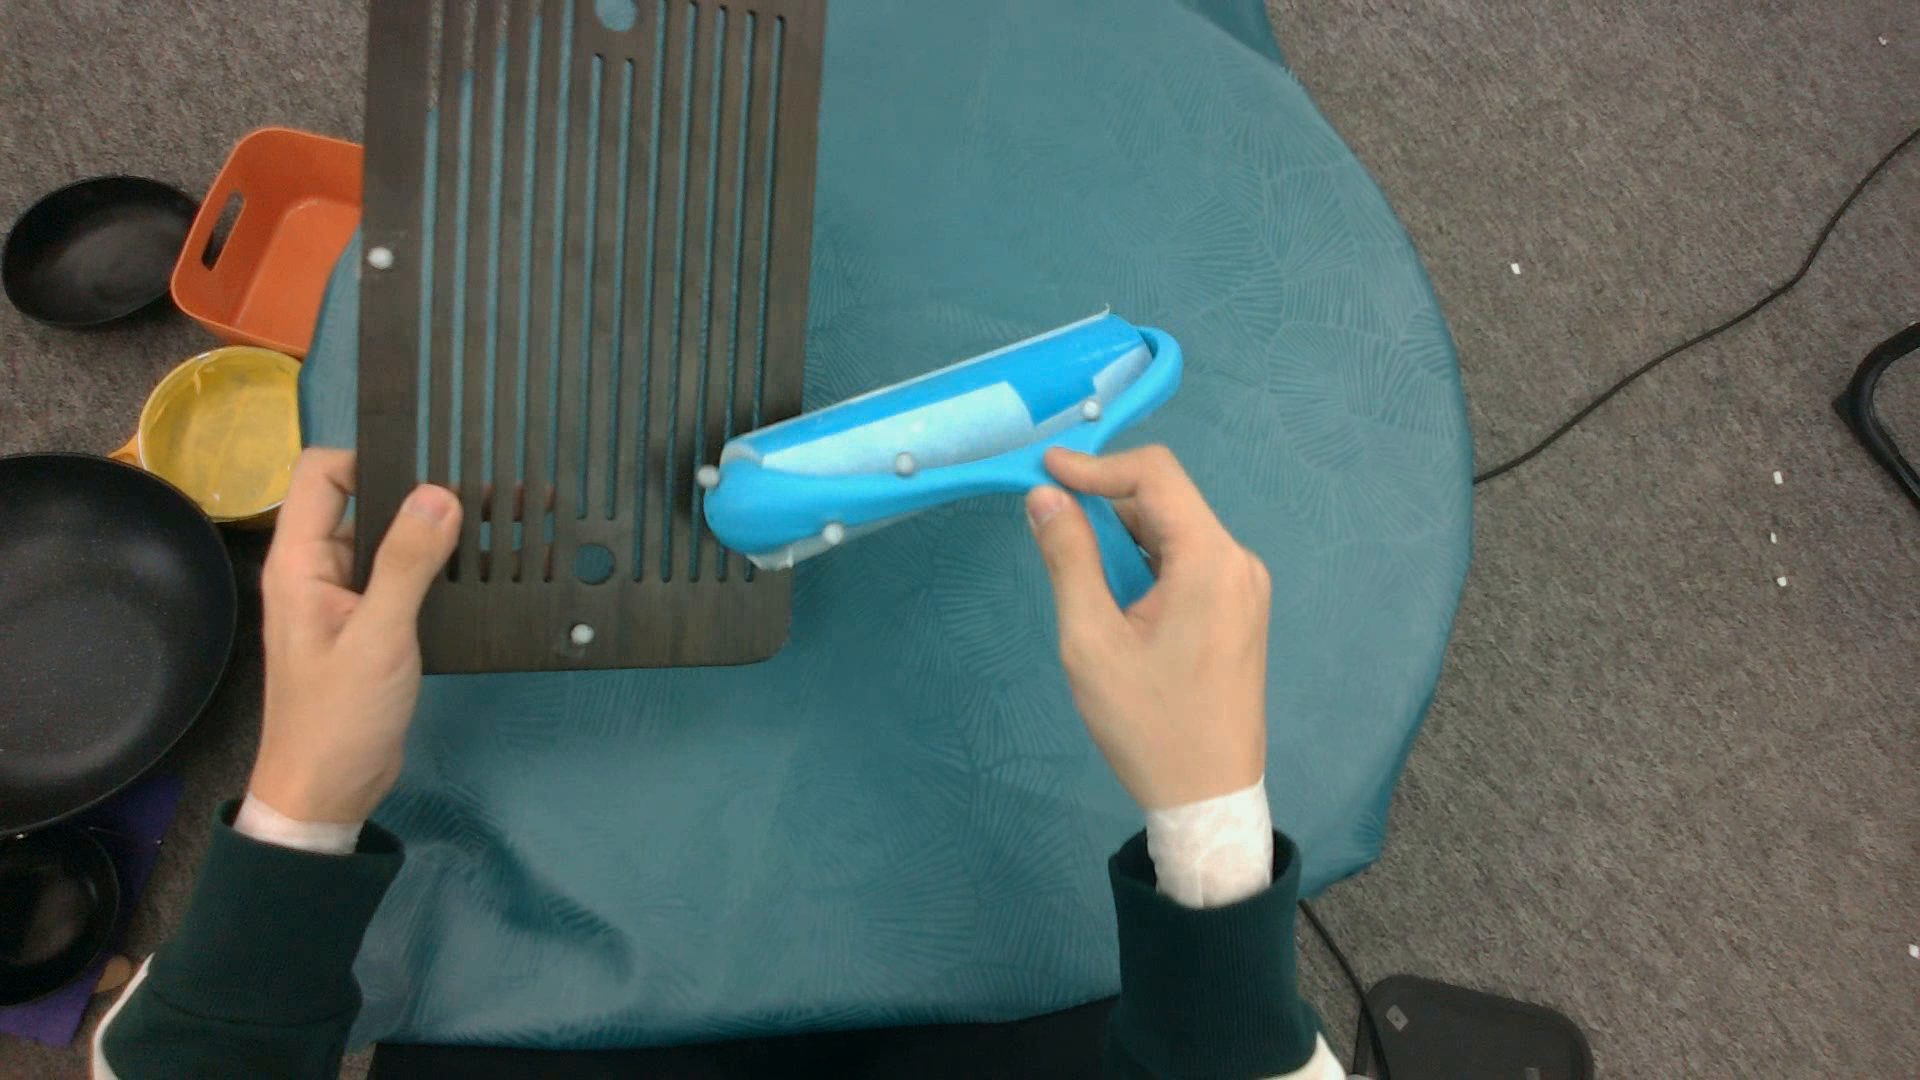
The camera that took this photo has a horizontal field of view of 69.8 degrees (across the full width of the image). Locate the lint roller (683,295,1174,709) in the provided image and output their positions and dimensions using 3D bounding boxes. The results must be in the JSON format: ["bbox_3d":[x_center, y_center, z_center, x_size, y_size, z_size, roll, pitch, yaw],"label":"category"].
[{"bbox_3d":[0.027,-0.016,0.545,0.230,0.067,0.180,-26,58,-37],"label":"lint roller"}]

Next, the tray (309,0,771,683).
[{"bbox_3d":[-0.159,-0.099,0.544,0.170,0.018,0.305,-2,98,-24],"label":"tray"}]
